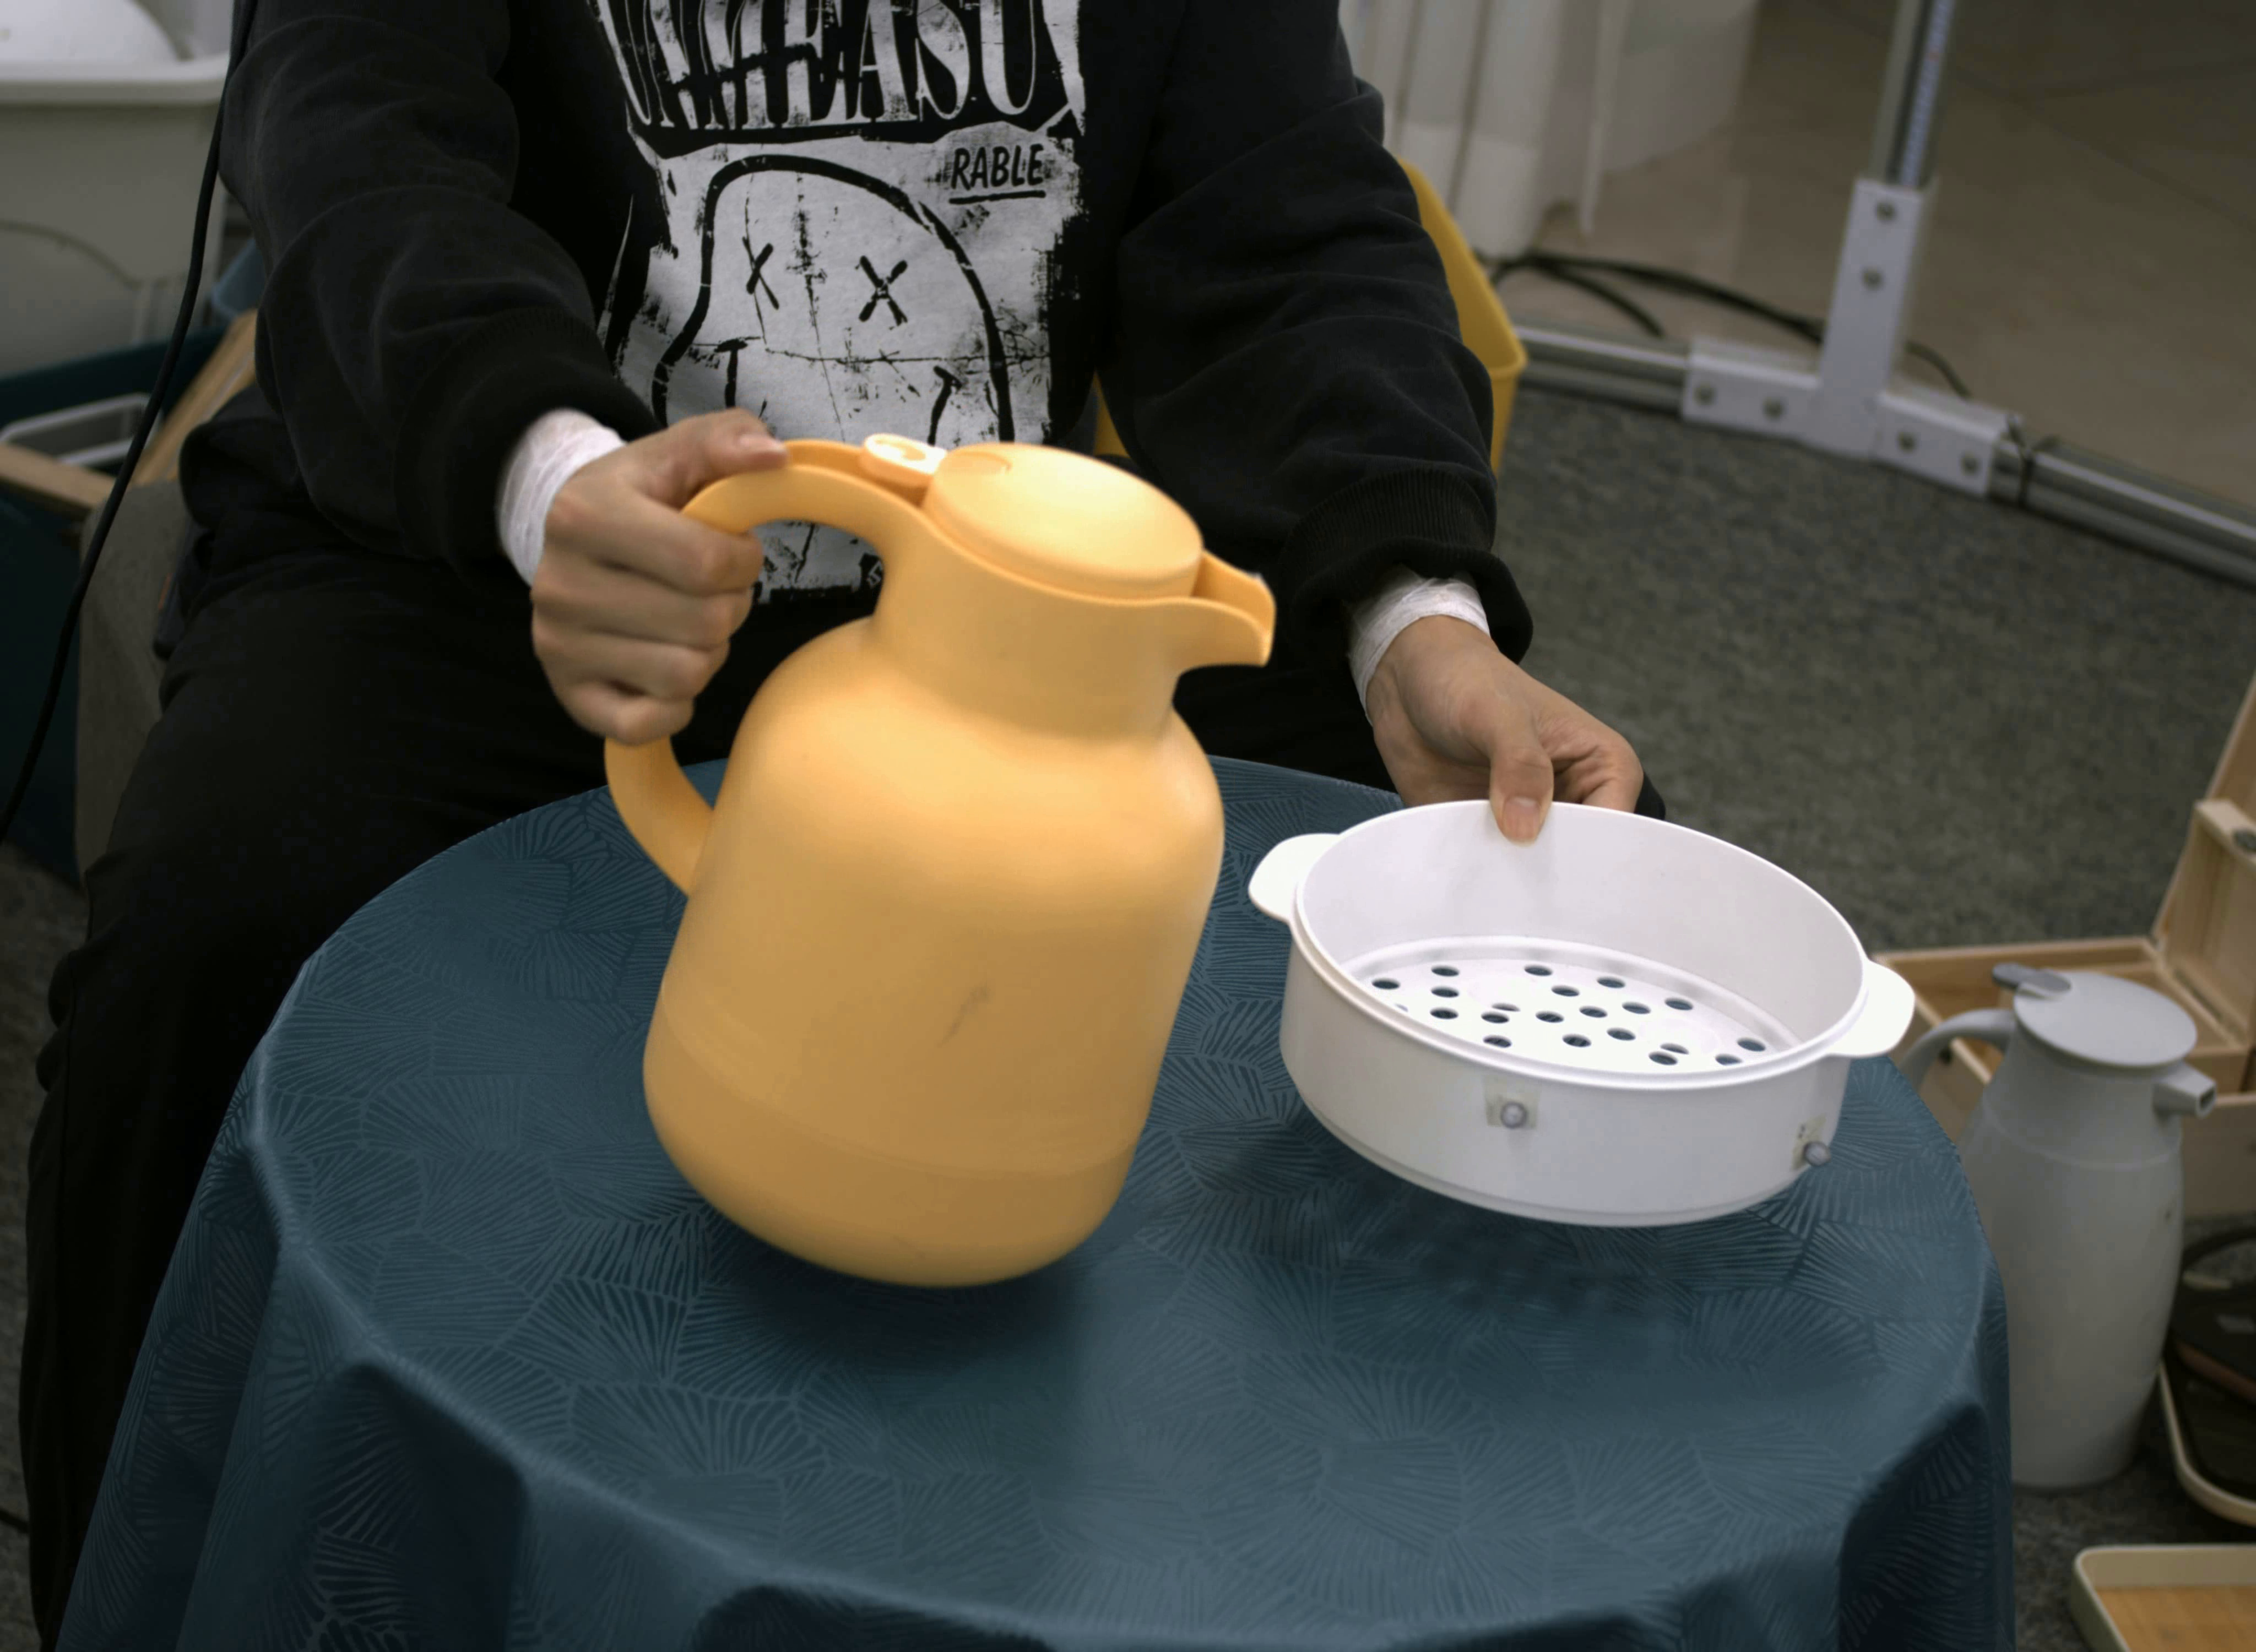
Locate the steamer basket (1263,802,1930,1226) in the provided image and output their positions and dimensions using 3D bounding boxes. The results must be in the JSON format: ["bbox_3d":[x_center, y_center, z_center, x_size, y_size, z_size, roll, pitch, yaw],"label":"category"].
[{"bbox_3d":[0.154,0.064,1.816,0.231,0.069,0.202,15,25,12],"label":"steamer basket"}]

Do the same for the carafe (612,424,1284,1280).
[{"bbox_3d":[-0.069,-0.002,1.698,0.202,0.260,0.164,21,22,5],"label":"carafe"}]
